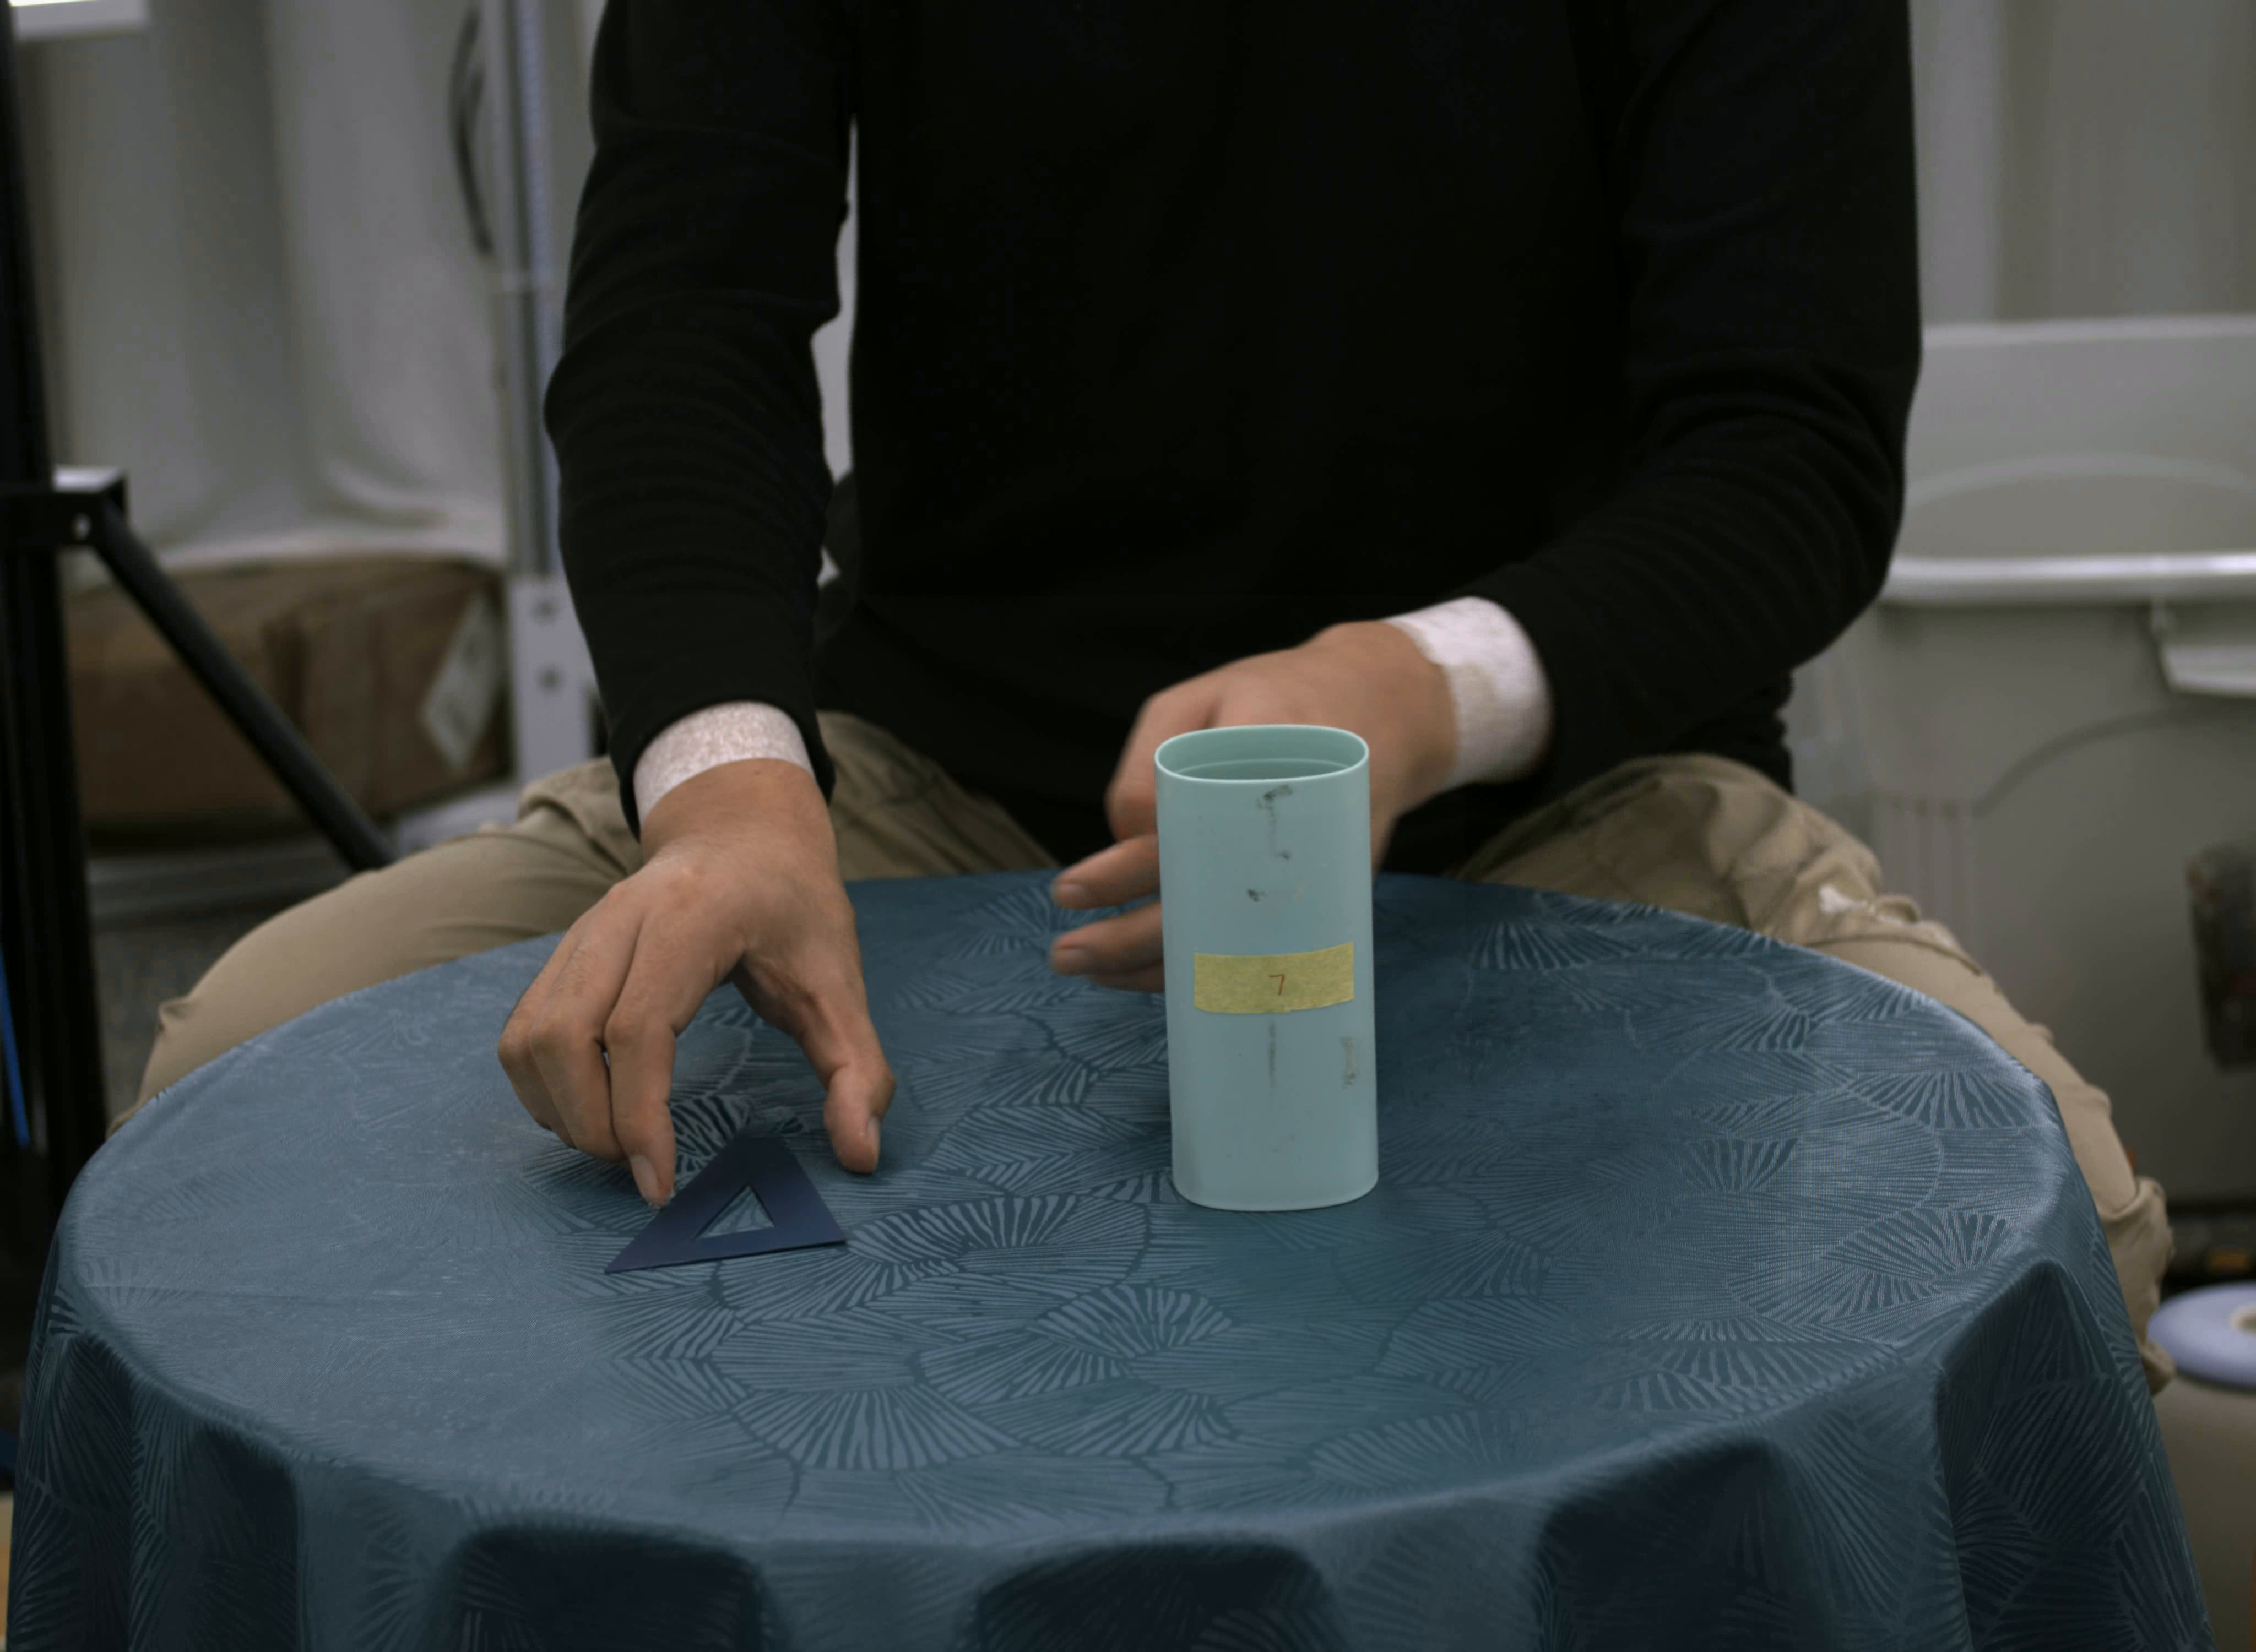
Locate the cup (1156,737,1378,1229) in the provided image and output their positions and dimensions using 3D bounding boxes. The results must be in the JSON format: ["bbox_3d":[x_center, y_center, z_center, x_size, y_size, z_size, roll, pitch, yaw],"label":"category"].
[{"bbox_3d":[0.042,0.045,1.548,0.066,0.132,0.067,-3,16,-1],"label":"cup"}]

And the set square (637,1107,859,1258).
[{"bbox_3d":[-0.094,0.105,1.573,0.062,0.006,0.130,0,16,21],"label":"set square"}]
